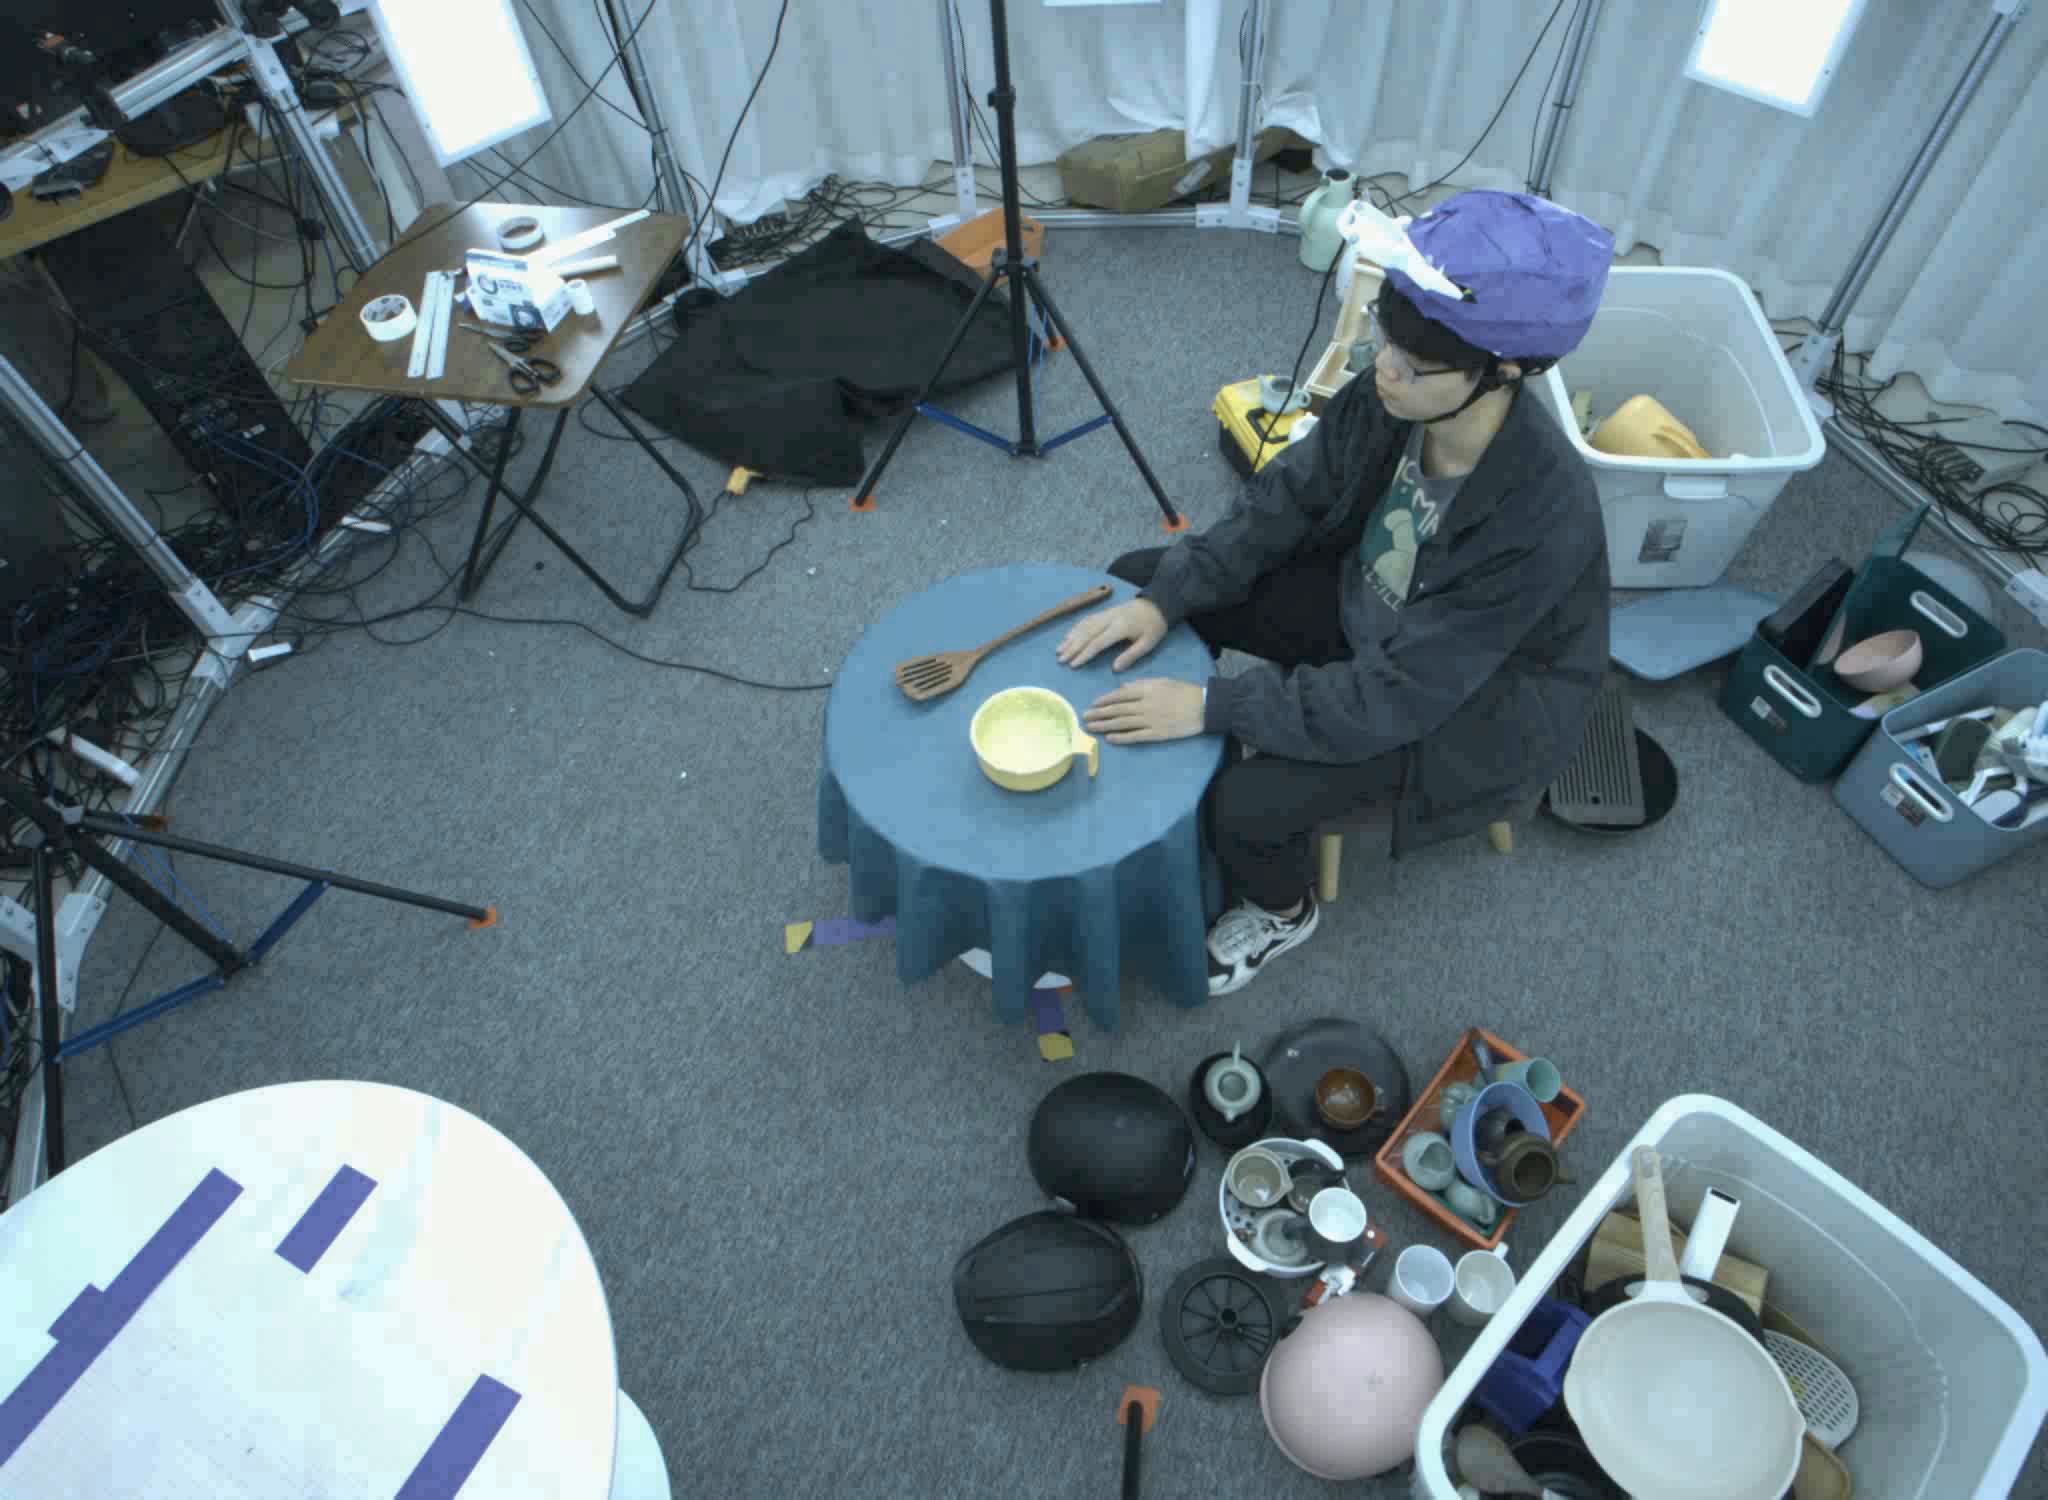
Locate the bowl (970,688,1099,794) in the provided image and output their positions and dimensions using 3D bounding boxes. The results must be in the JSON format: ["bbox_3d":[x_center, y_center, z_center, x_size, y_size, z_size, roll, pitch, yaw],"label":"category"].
[{"bbox_3d":[0.016,-0.005,1.744,0.178,0.075,0.152,8,56,9],"label":"bowl"}]

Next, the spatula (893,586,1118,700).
[{"bbox_3d":[-0.020,-0.173,1.891,0.390,0.024,0.084,-26,58,-17],"label":"spatula"}]
